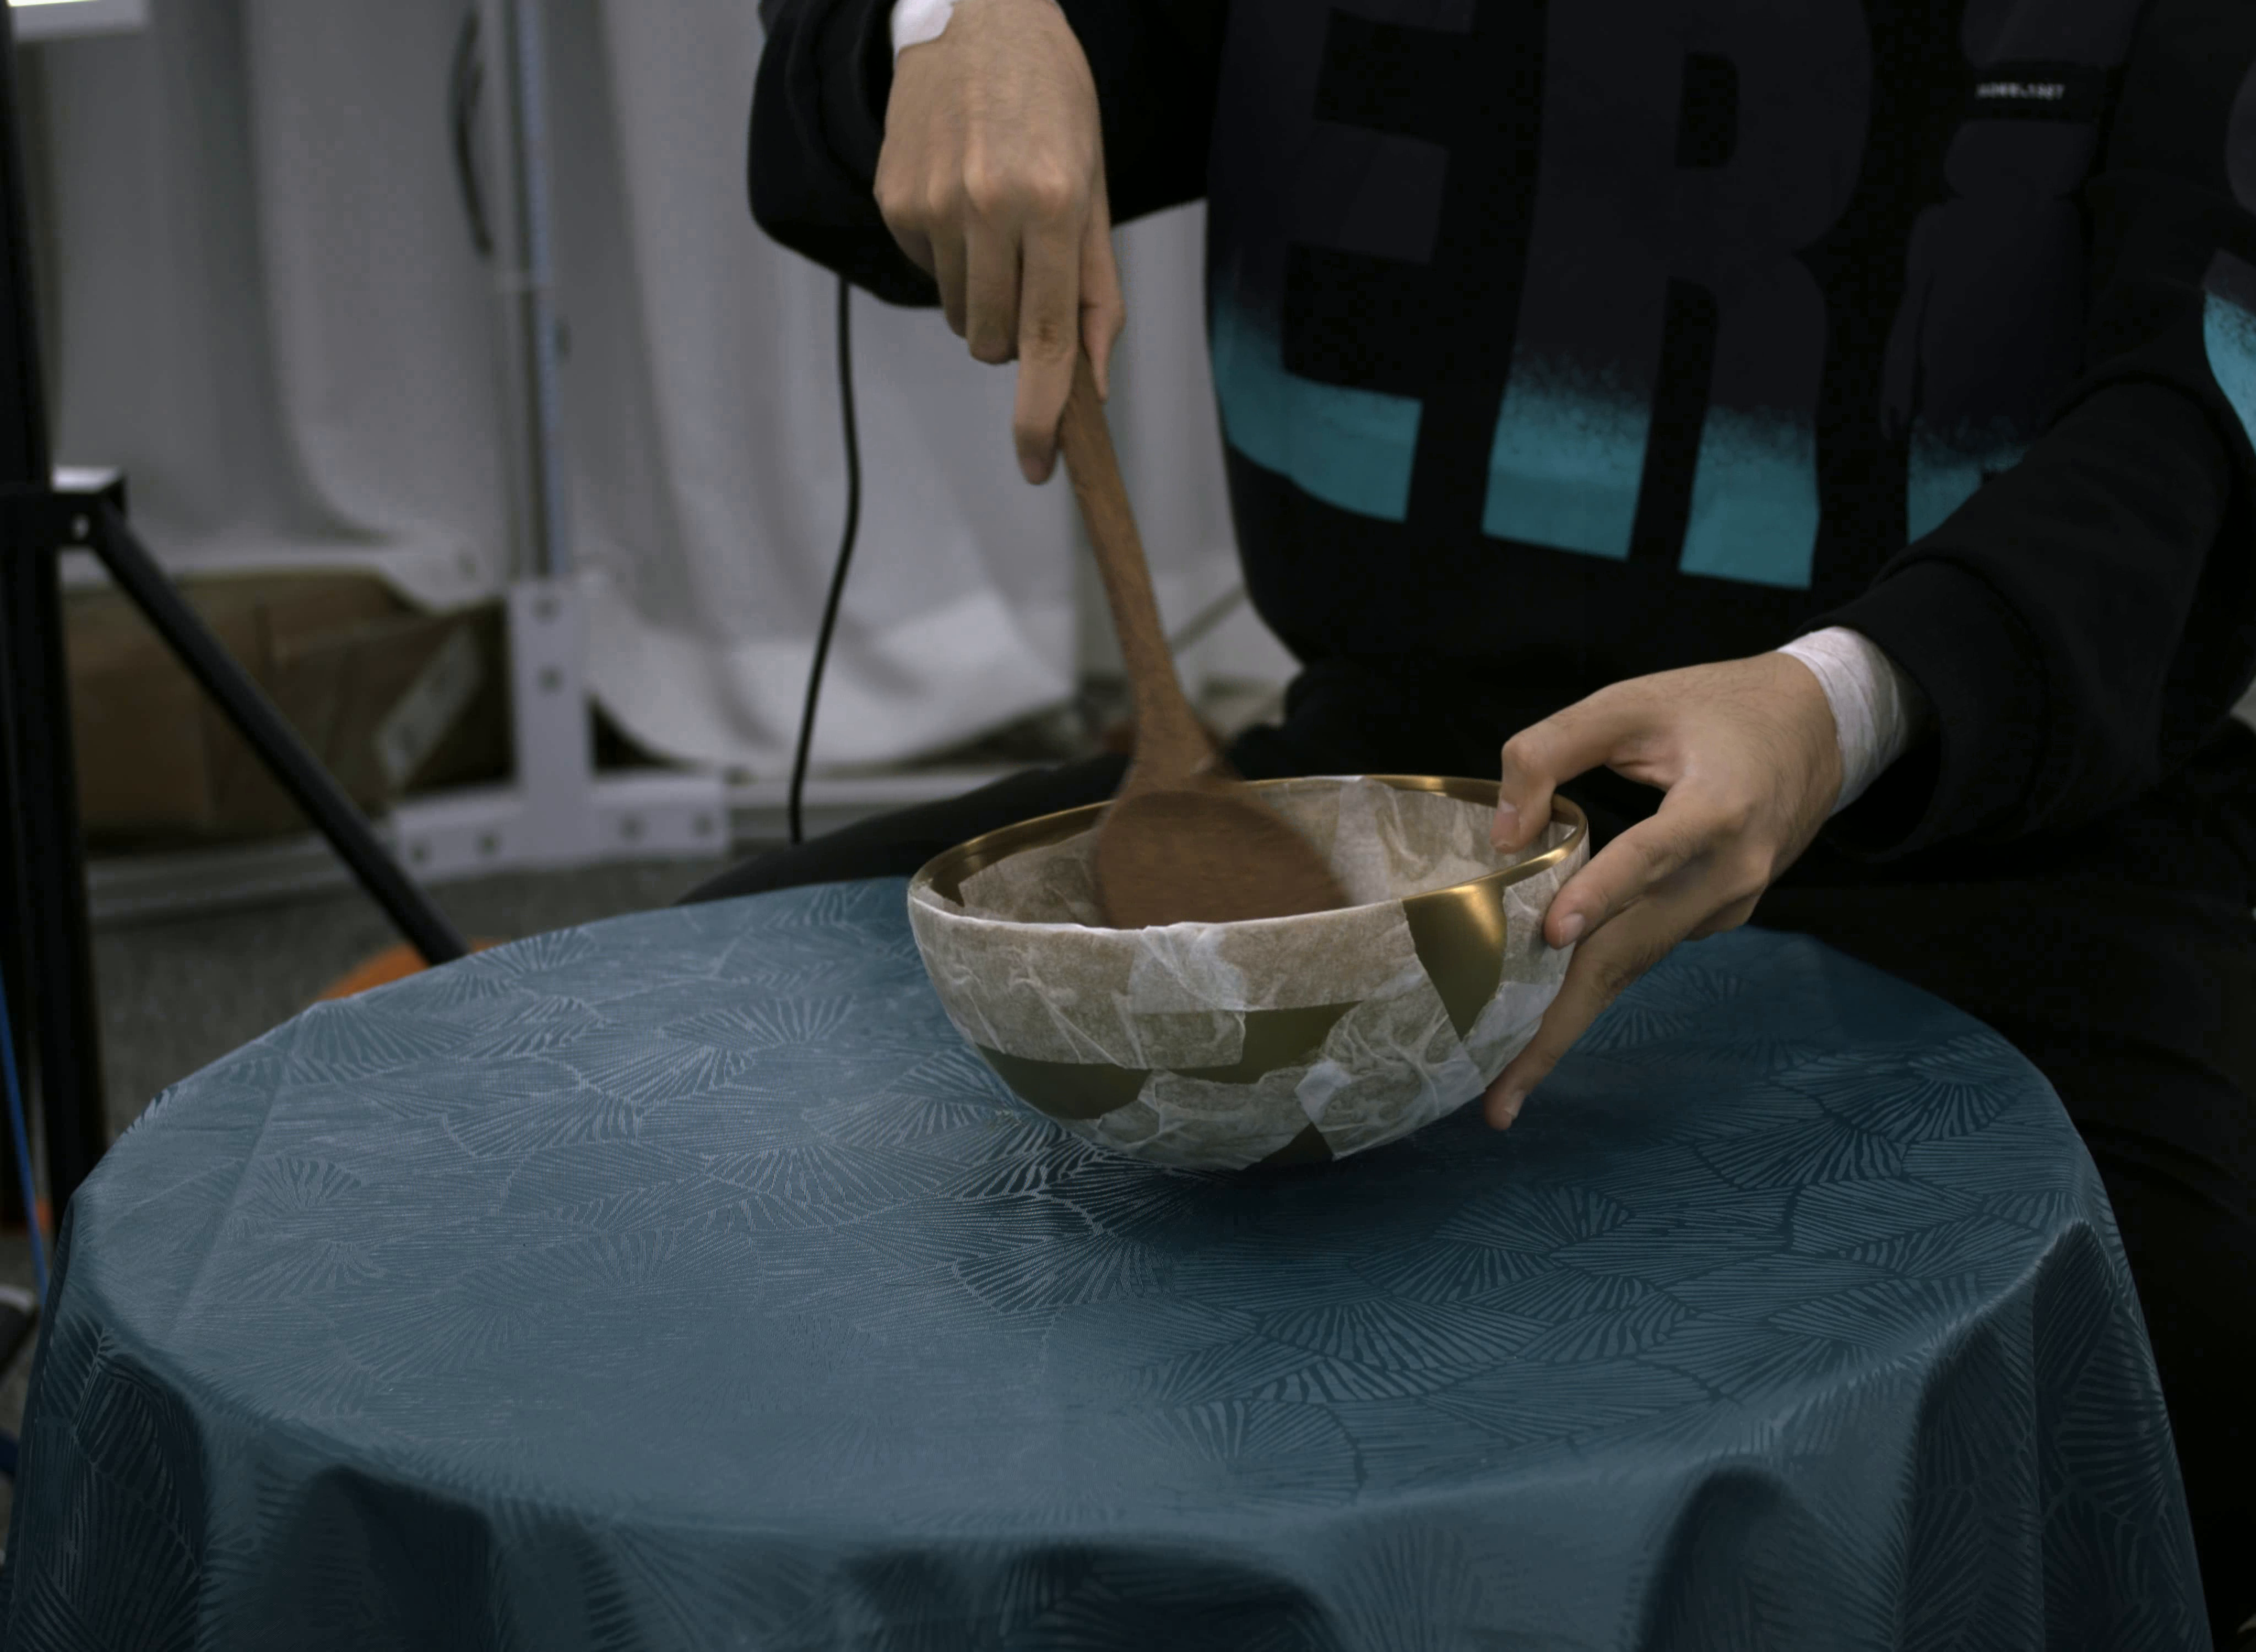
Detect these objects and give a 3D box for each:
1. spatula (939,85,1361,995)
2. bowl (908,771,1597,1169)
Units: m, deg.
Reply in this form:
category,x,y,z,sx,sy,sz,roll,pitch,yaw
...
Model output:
category,x,y,z,sx,sy,sz,roll,pitch,yaw
spatula,-0.002,-0.094,1.693,0.094,0.016,0.392,2,52,-28
bowl,0.042,0.049,1.566,0.213,0.095,0.215,-6,9,0
